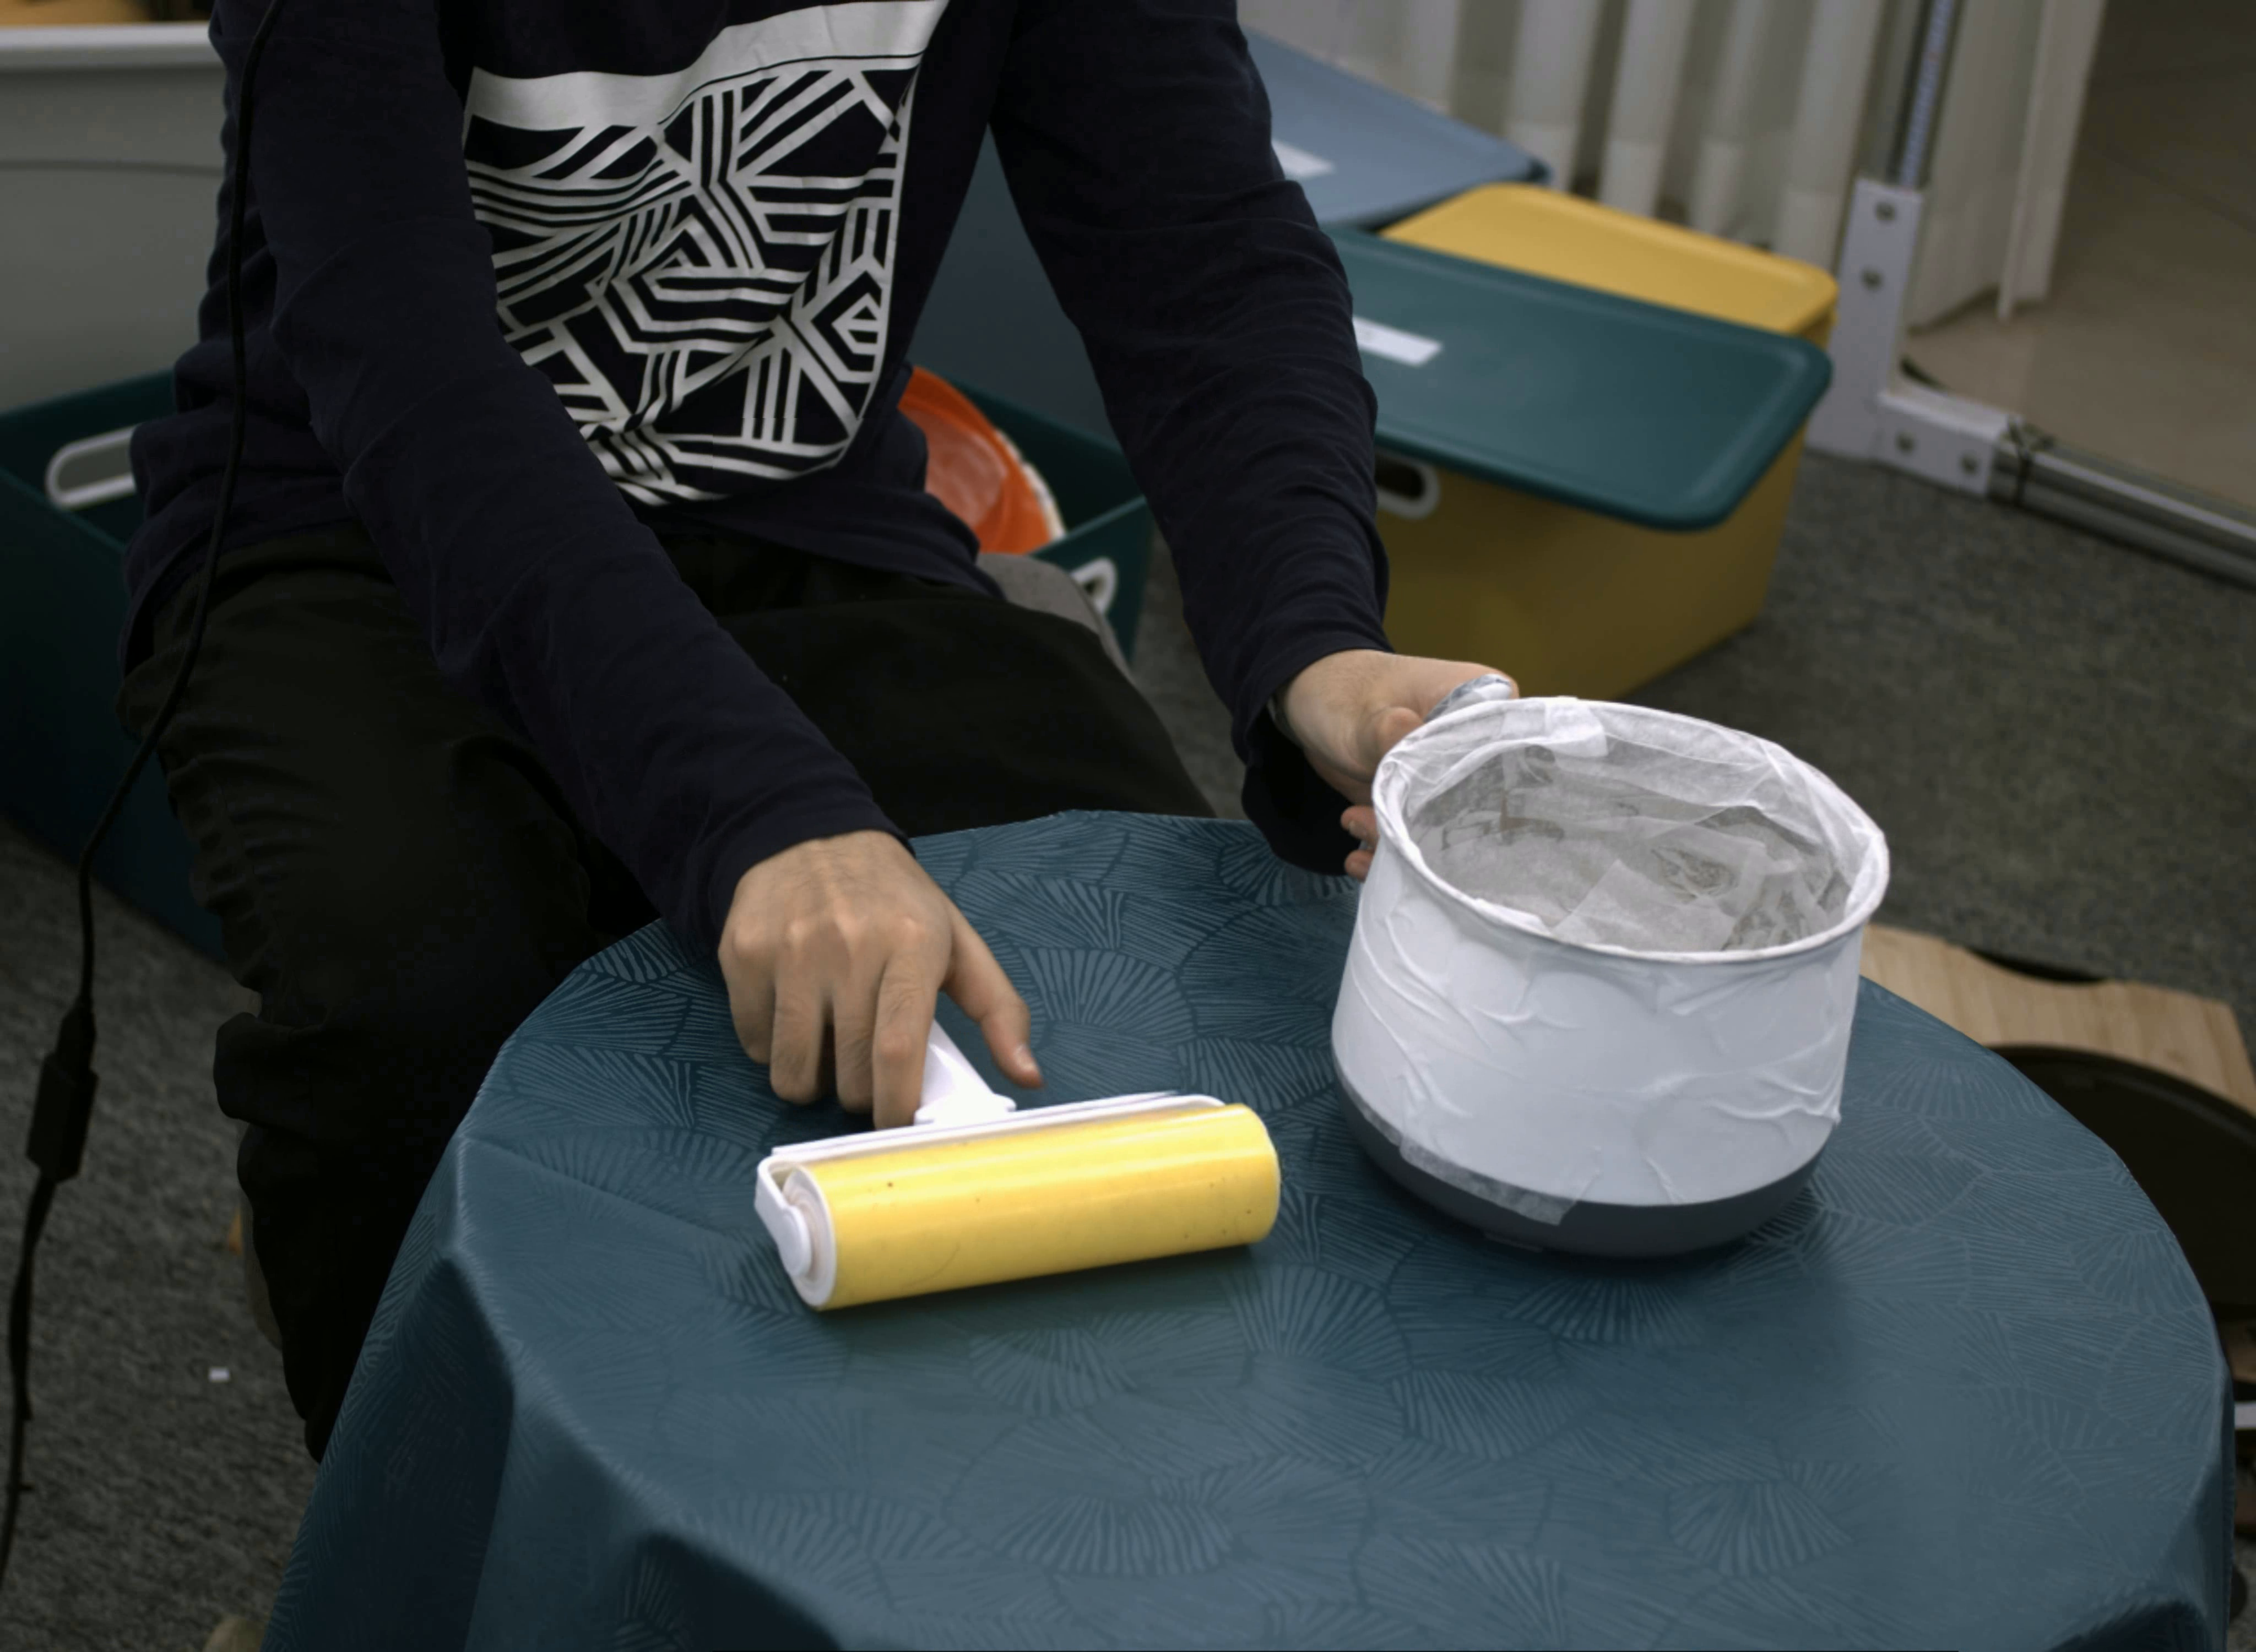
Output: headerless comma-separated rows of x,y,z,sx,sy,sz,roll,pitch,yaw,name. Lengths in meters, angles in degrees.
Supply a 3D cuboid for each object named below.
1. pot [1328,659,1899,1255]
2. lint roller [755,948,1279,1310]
0.150,0.037,1.843,0.177,0.136,0.236,-6,33,-27,pot
-0.063,0.085,1.795,0.173,0.051,0.194,-7,38,-26,lint roller
